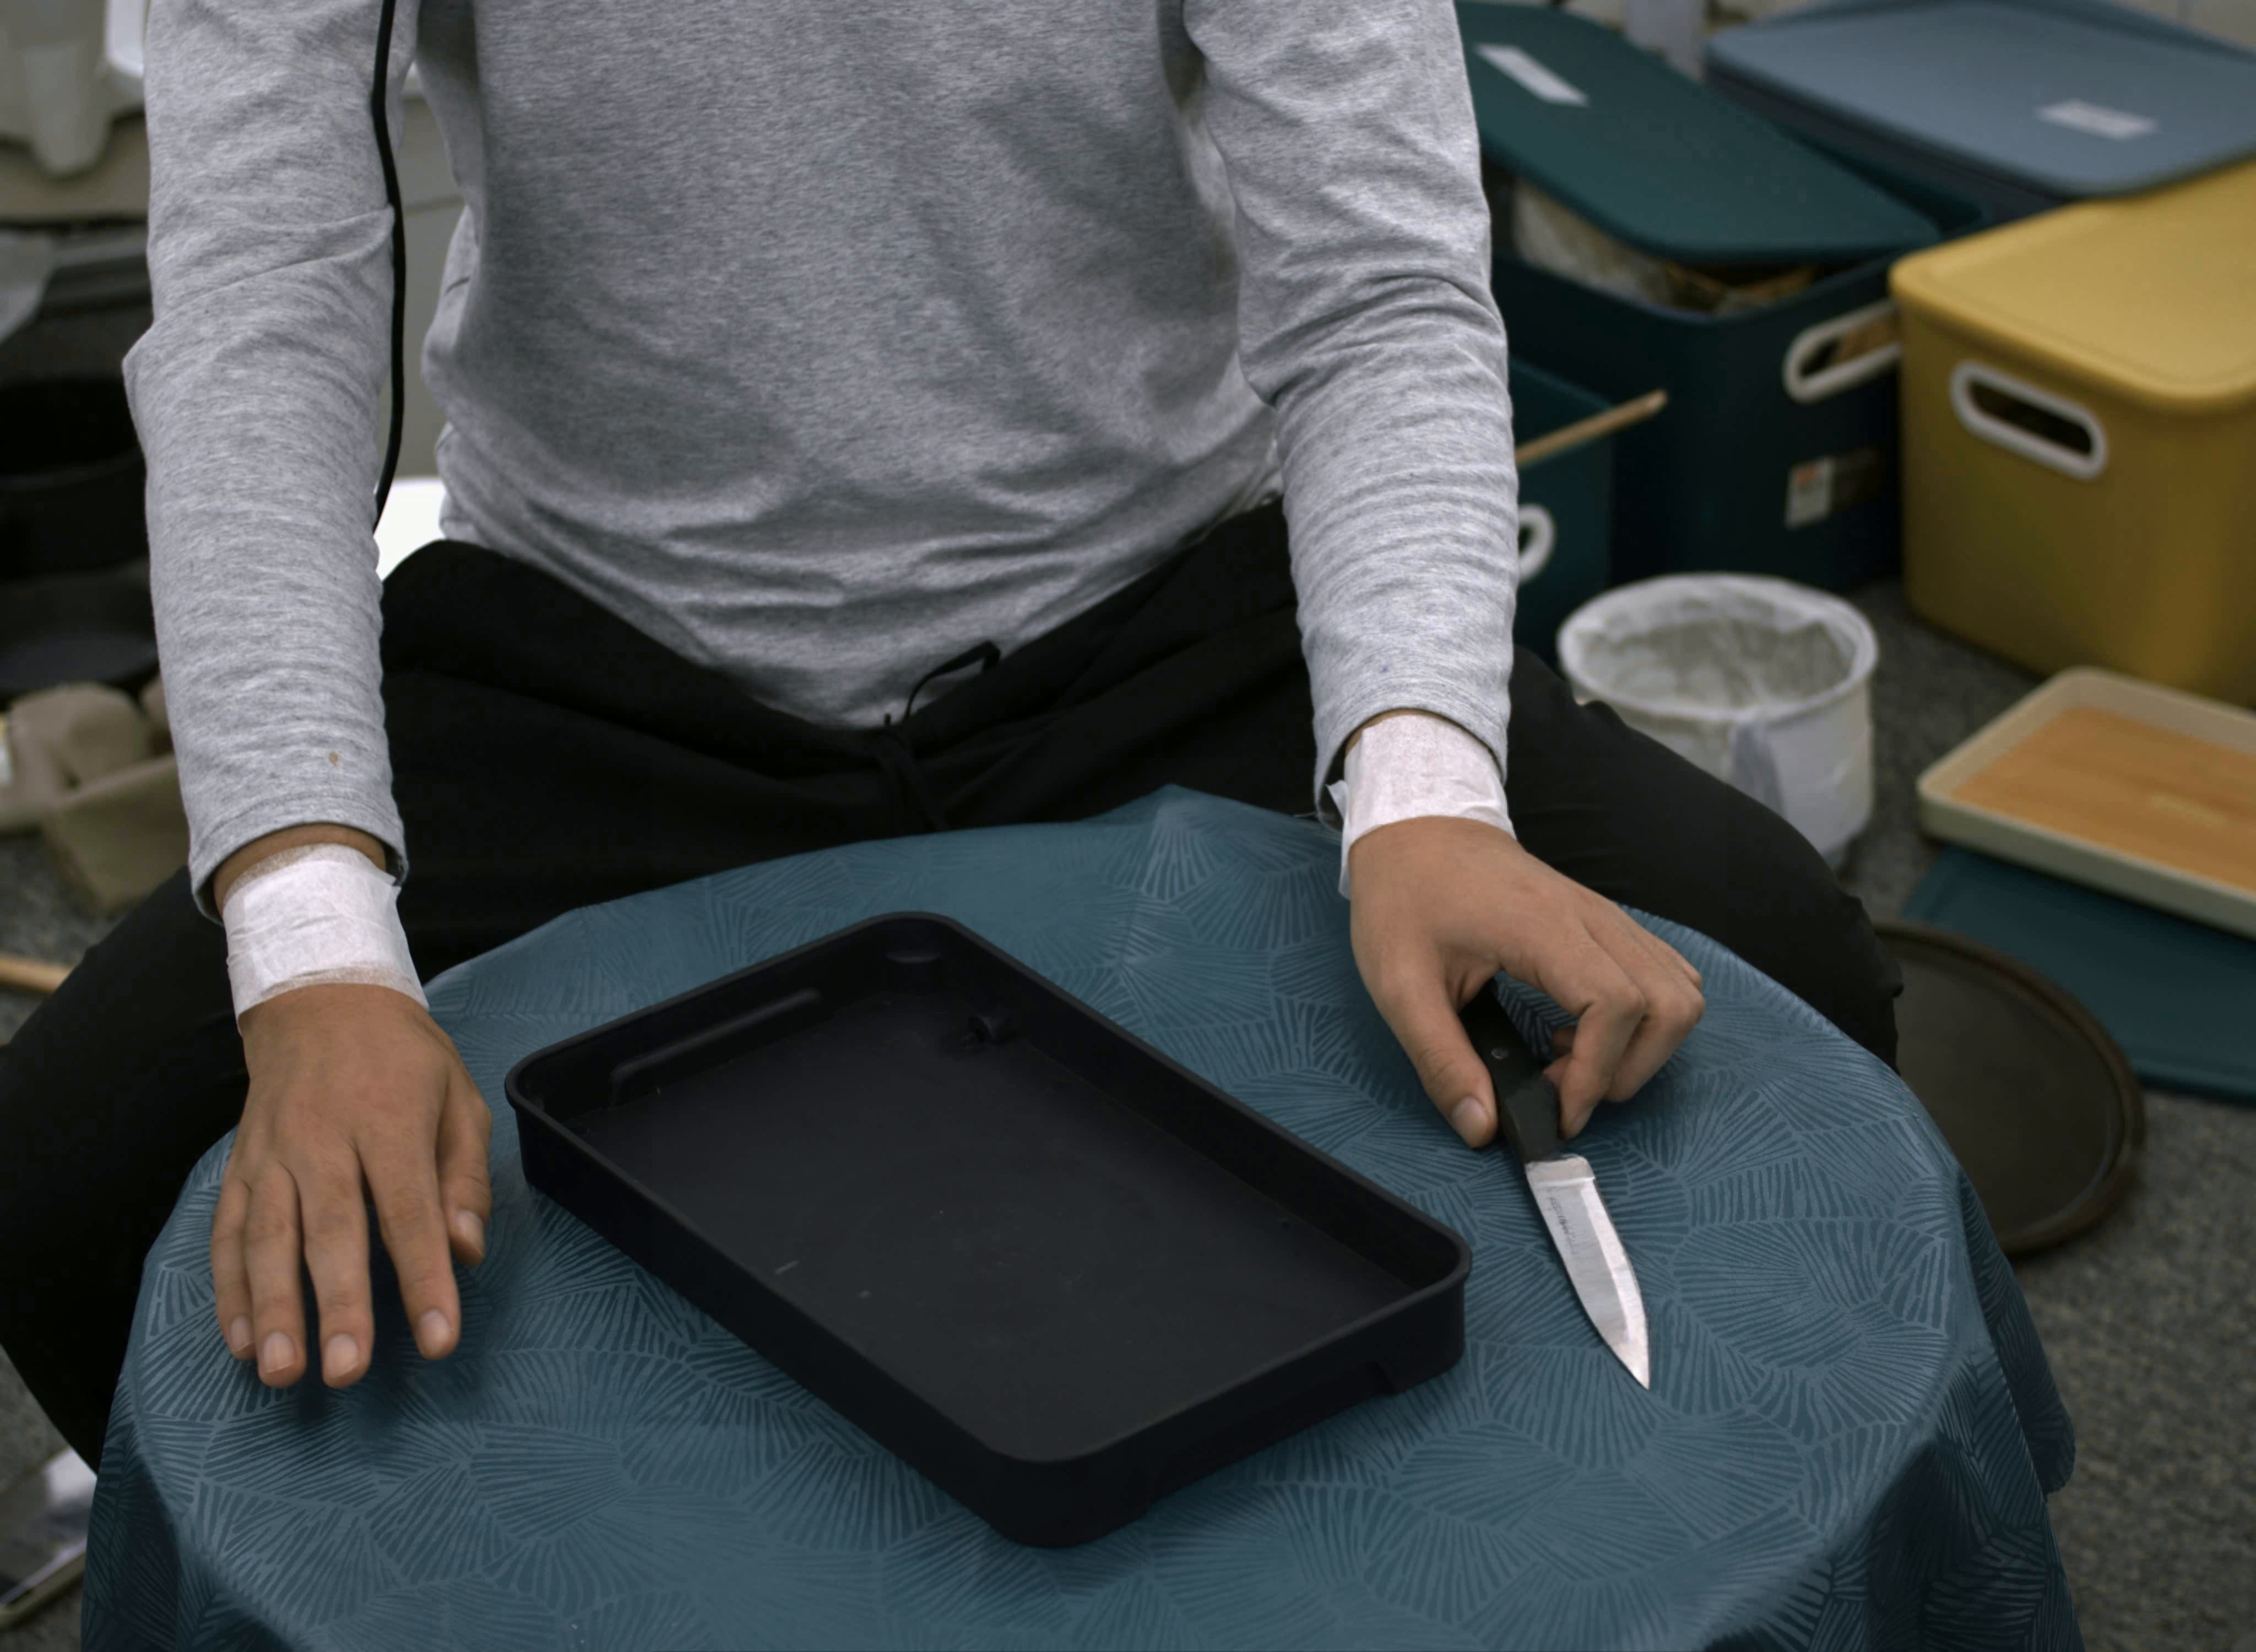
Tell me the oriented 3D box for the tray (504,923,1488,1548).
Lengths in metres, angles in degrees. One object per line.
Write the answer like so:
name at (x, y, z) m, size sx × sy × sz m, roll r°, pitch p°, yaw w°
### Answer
tray at (-0.047, 0.126, 1.819) m, size 0.186 × 0.036 × 0.318 m, roll -22°, pitch 32°, yaw -33°

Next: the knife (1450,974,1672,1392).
knife at (0.140, 0.116, 1.843) m, size 0.024 × 0.016 × 0.241 m, roll -7°, pitch 31°, yaw -9°
